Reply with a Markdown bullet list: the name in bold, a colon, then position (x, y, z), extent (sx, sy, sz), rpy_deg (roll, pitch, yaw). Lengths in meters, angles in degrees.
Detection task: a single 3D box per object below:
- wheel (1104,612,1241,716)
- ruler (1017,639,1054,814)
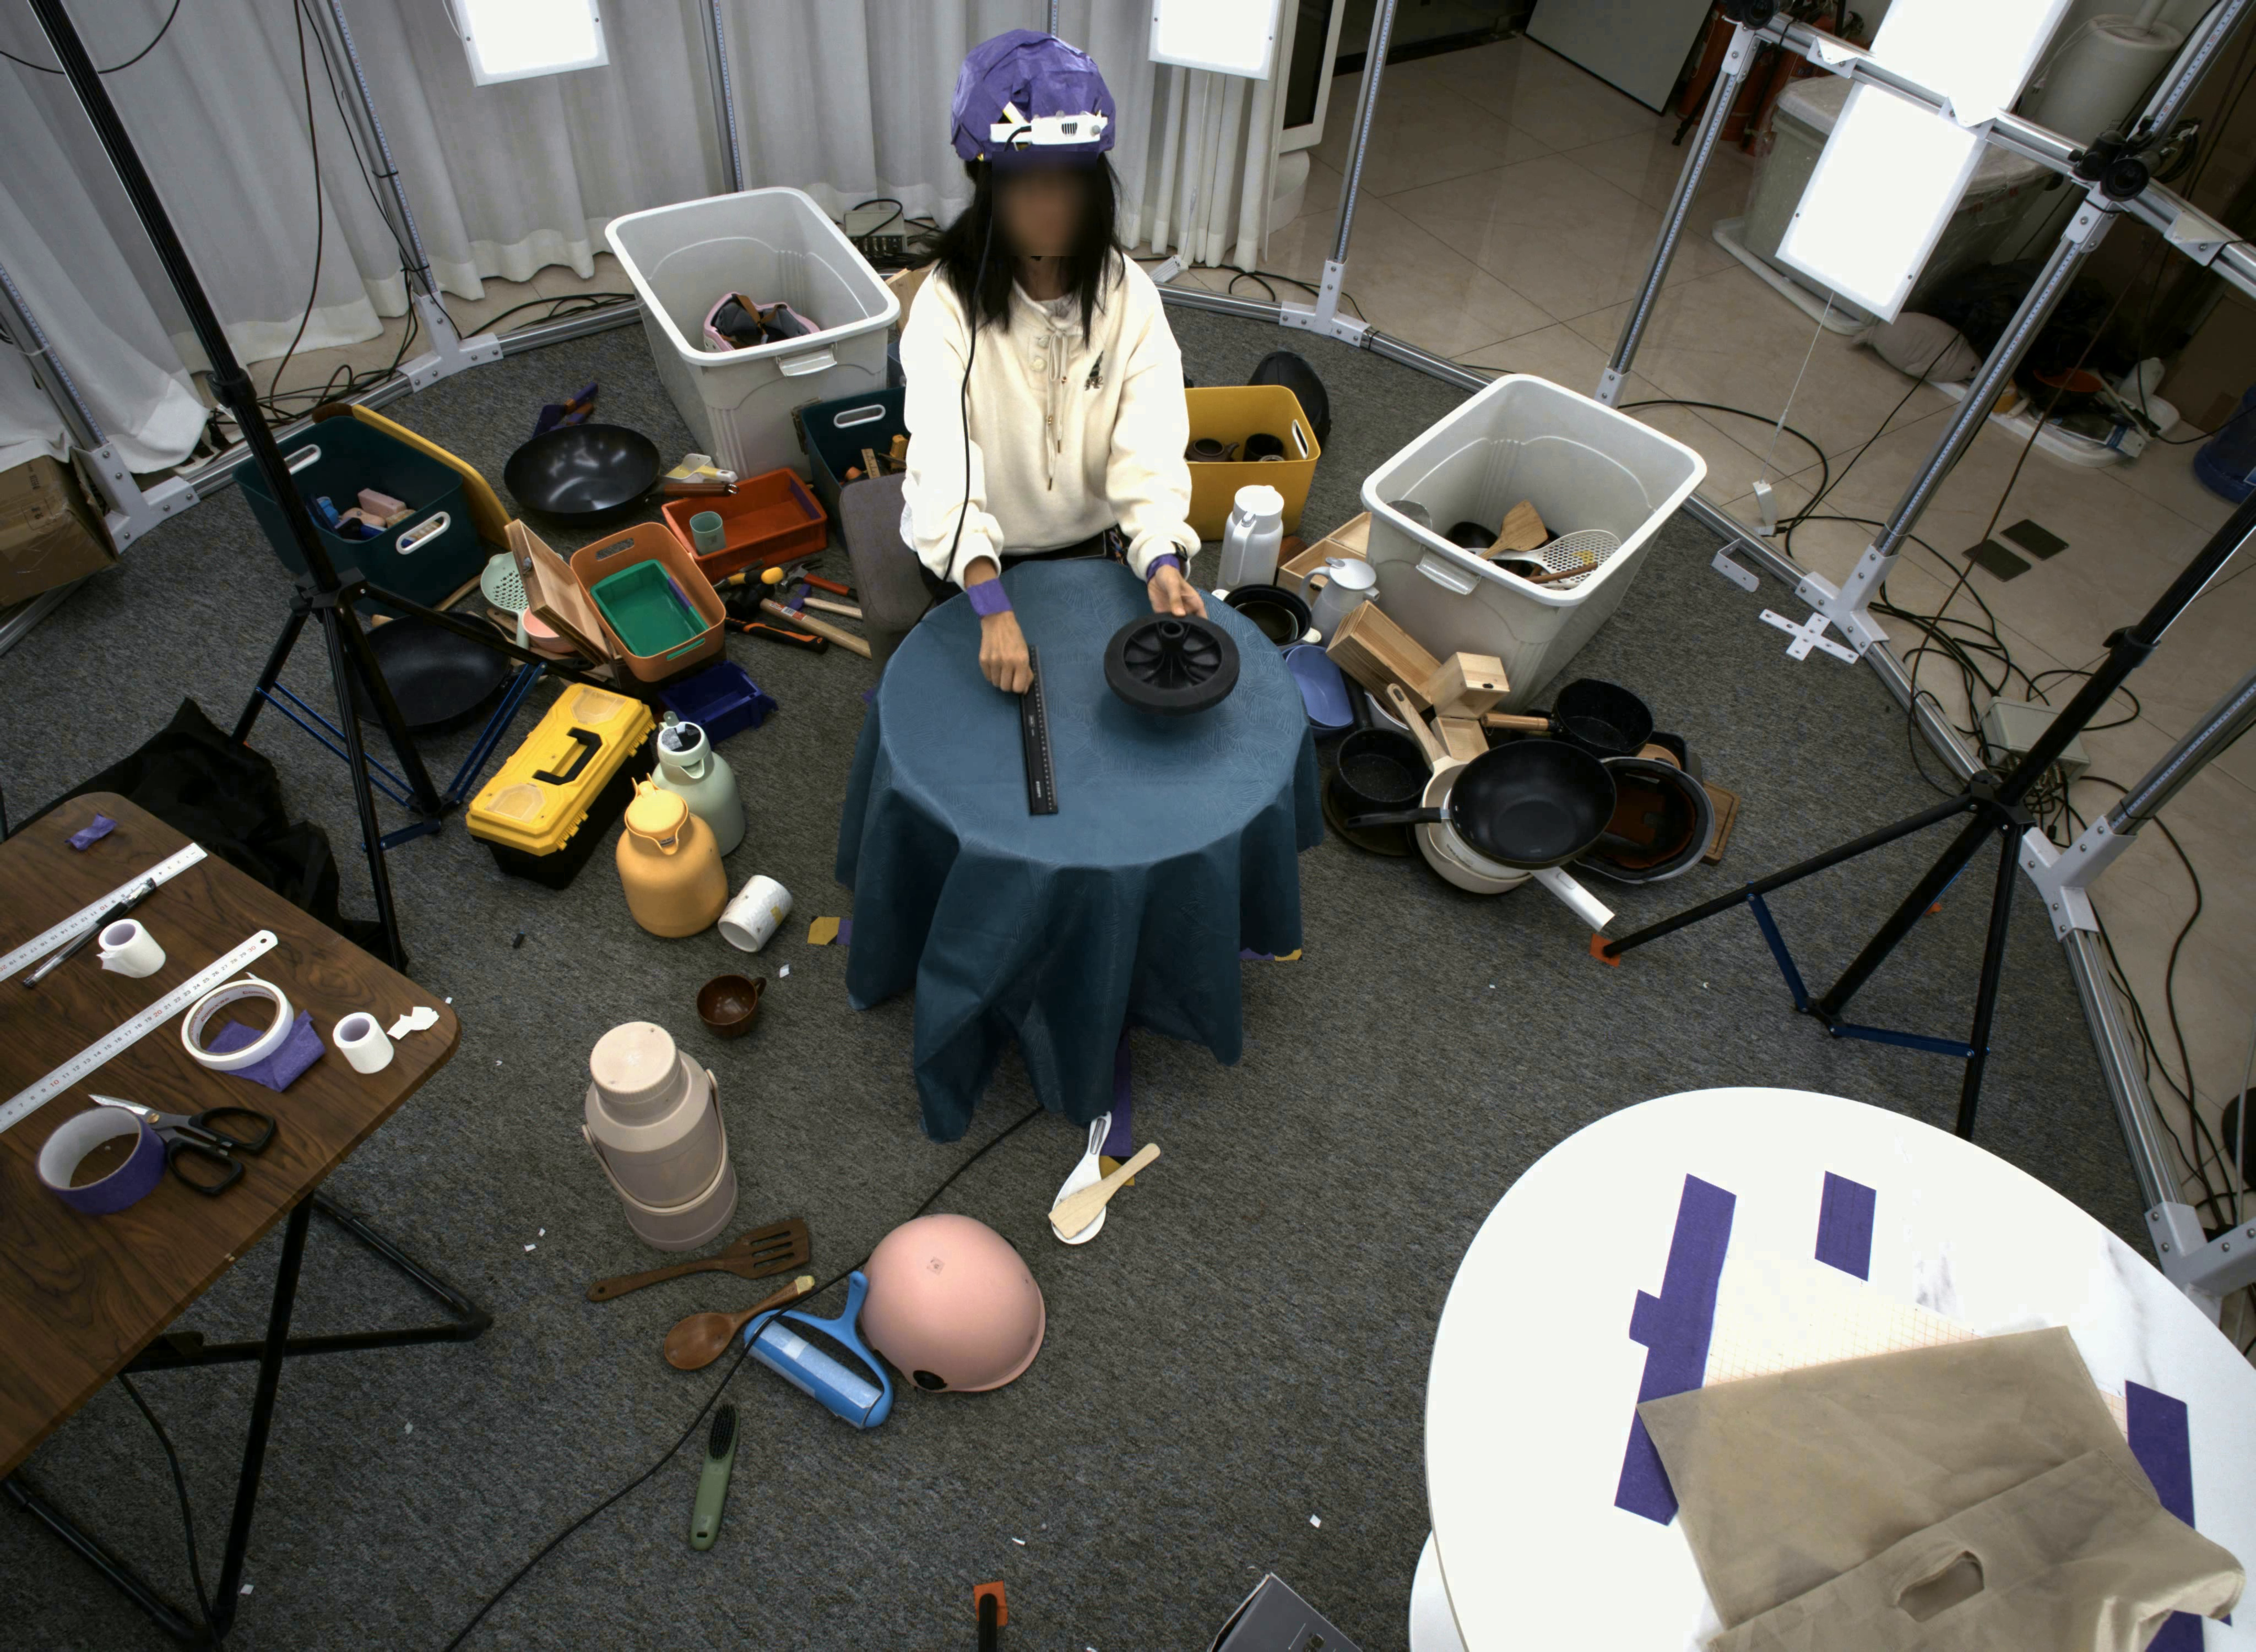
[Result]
- **wheel**: position (0.062, -0.240, 1.766), extent (0.190, 0.077, 0.192), rpy_deg (8, 51, 7)
- **ruler**: position (-0.128, -0.144, 1.766), extent (0.039, 0.017, 0.320), rpy_deg (-2, 51, -6)
